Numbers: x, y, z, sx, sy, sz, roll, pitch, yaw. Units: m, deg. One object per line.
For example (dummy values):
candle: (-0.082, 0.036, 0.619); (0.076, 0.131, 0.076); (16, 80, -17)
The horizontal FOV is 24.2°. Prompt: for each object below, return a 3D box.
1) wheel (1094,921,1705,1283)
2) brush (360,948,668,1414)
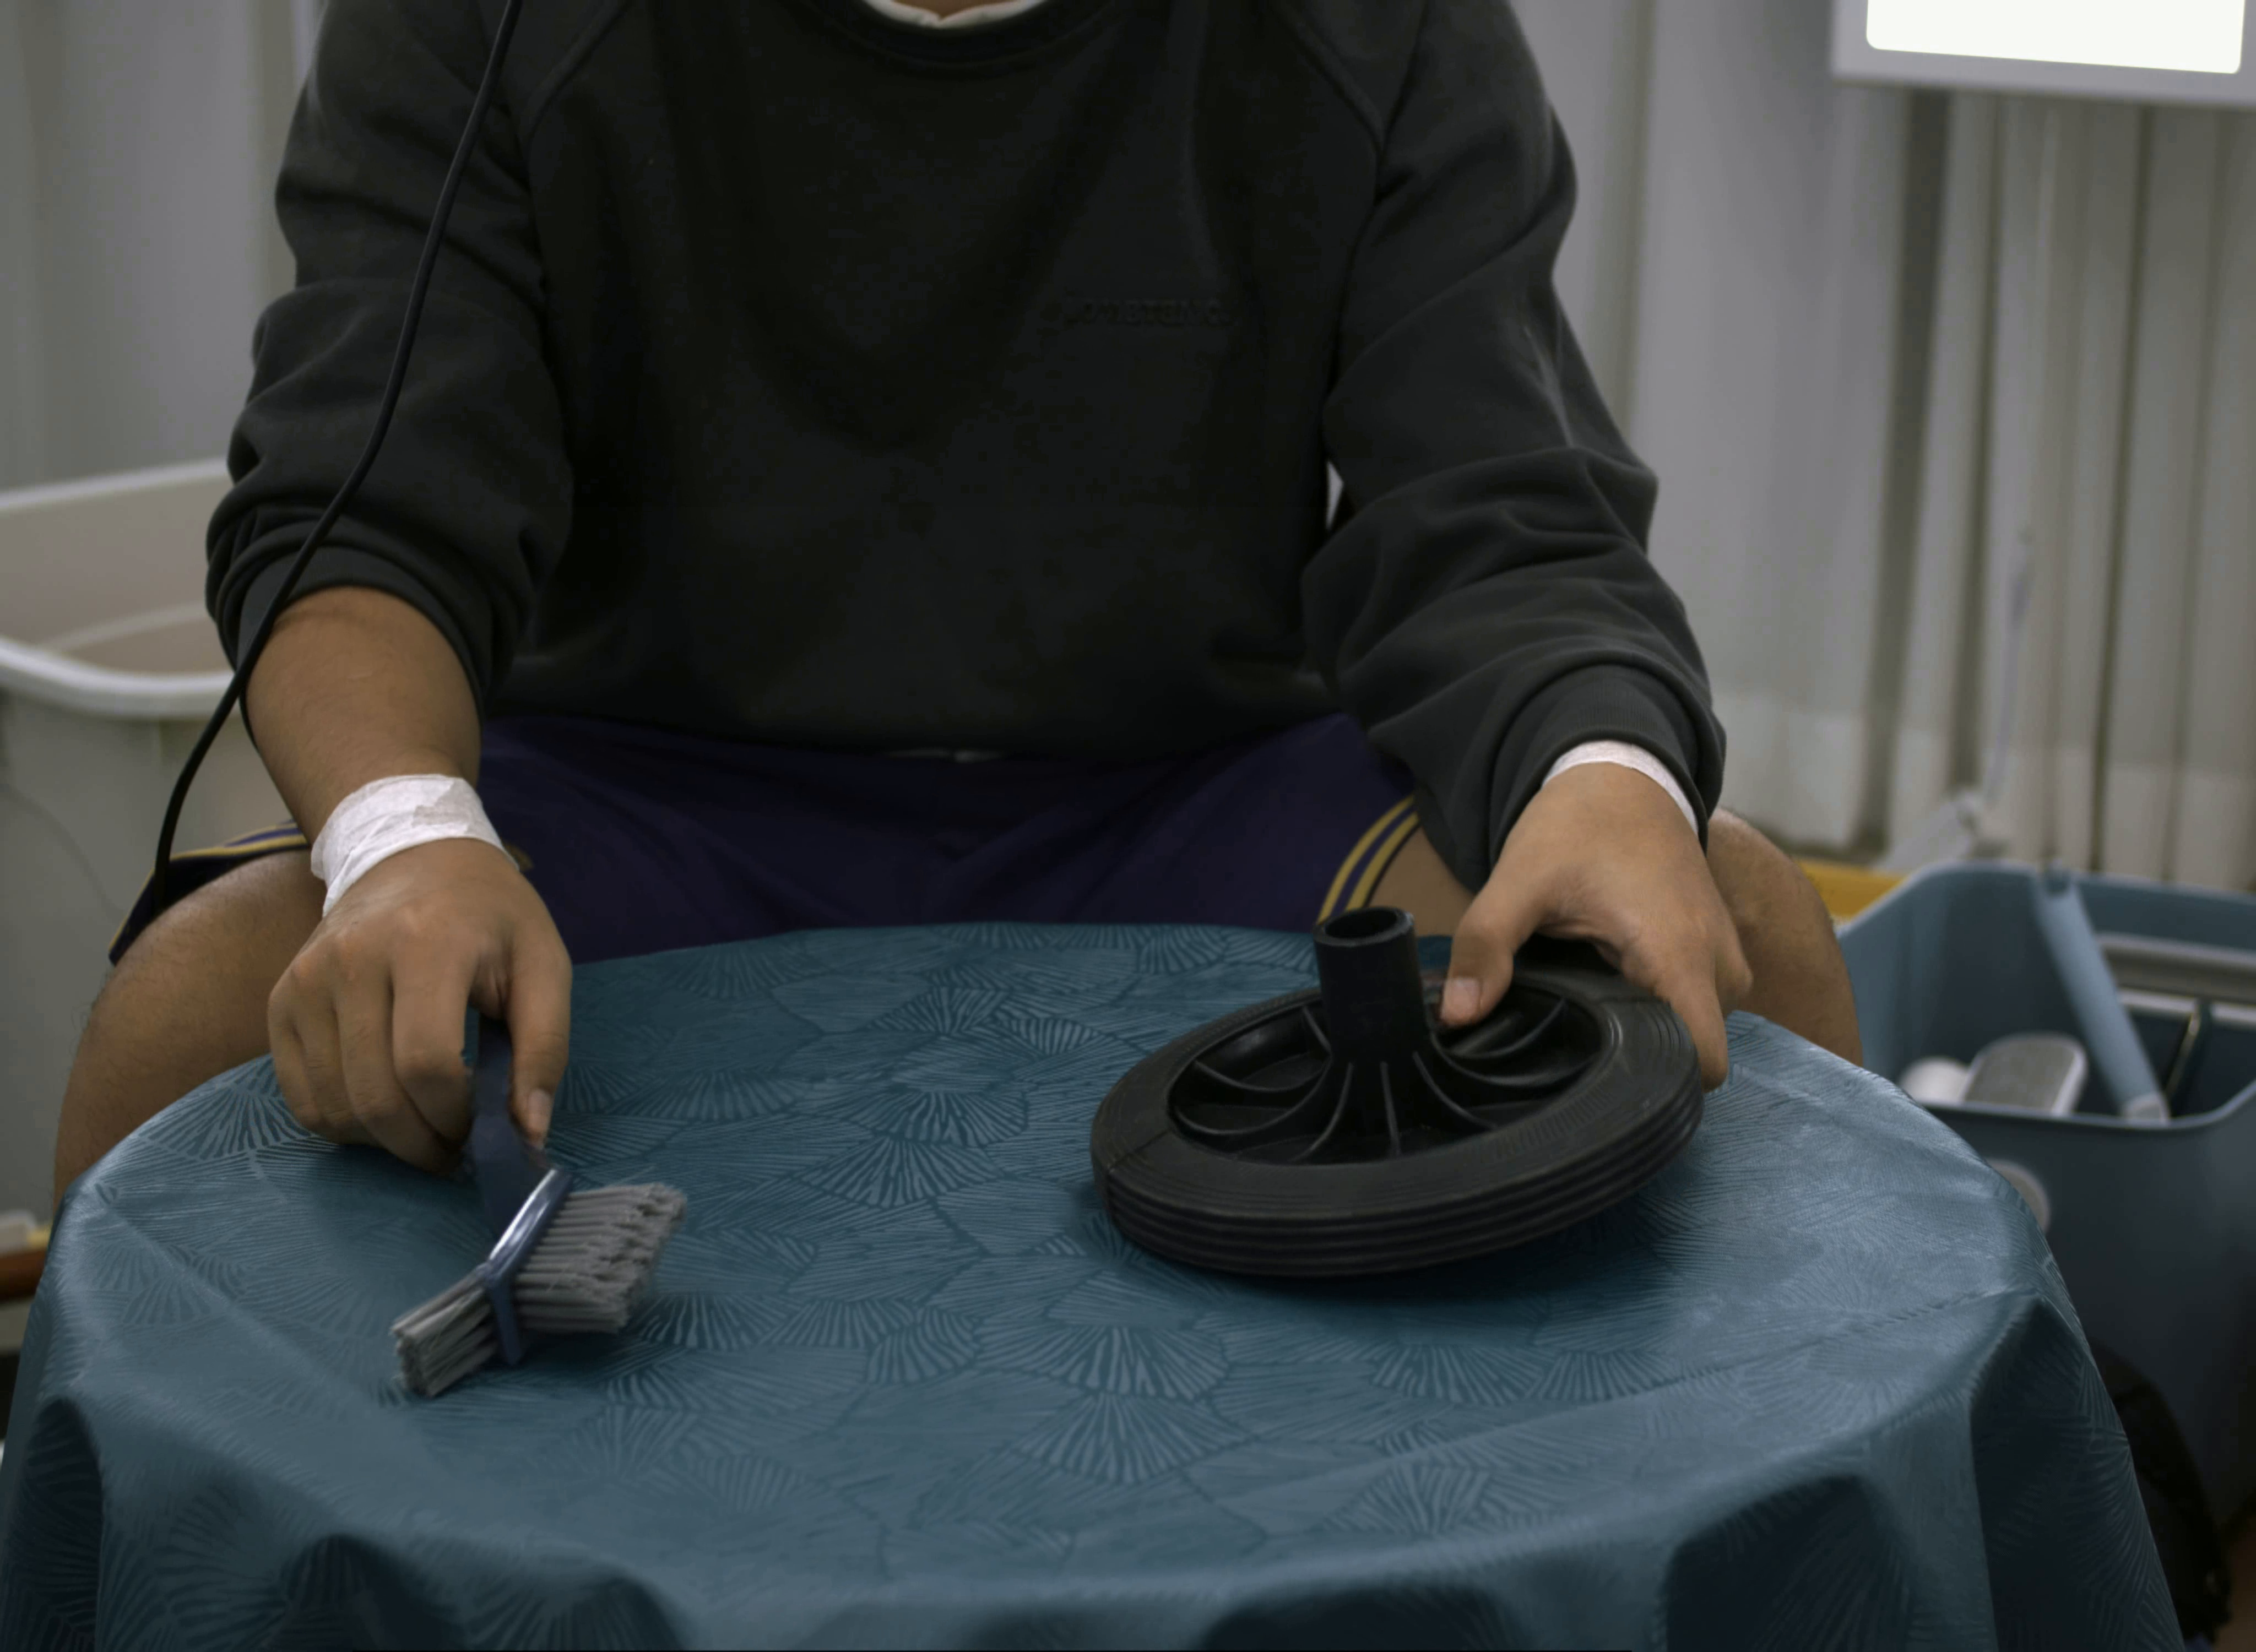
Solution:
wheel: (0.079, 0.071, 1.599); (0.186, 0.080, 0.189); (-4, 19, 17)
brush: (-0.196, 0.101, 1.582); (0.095, 0.034, 0.270); (-15, 20, -9)
